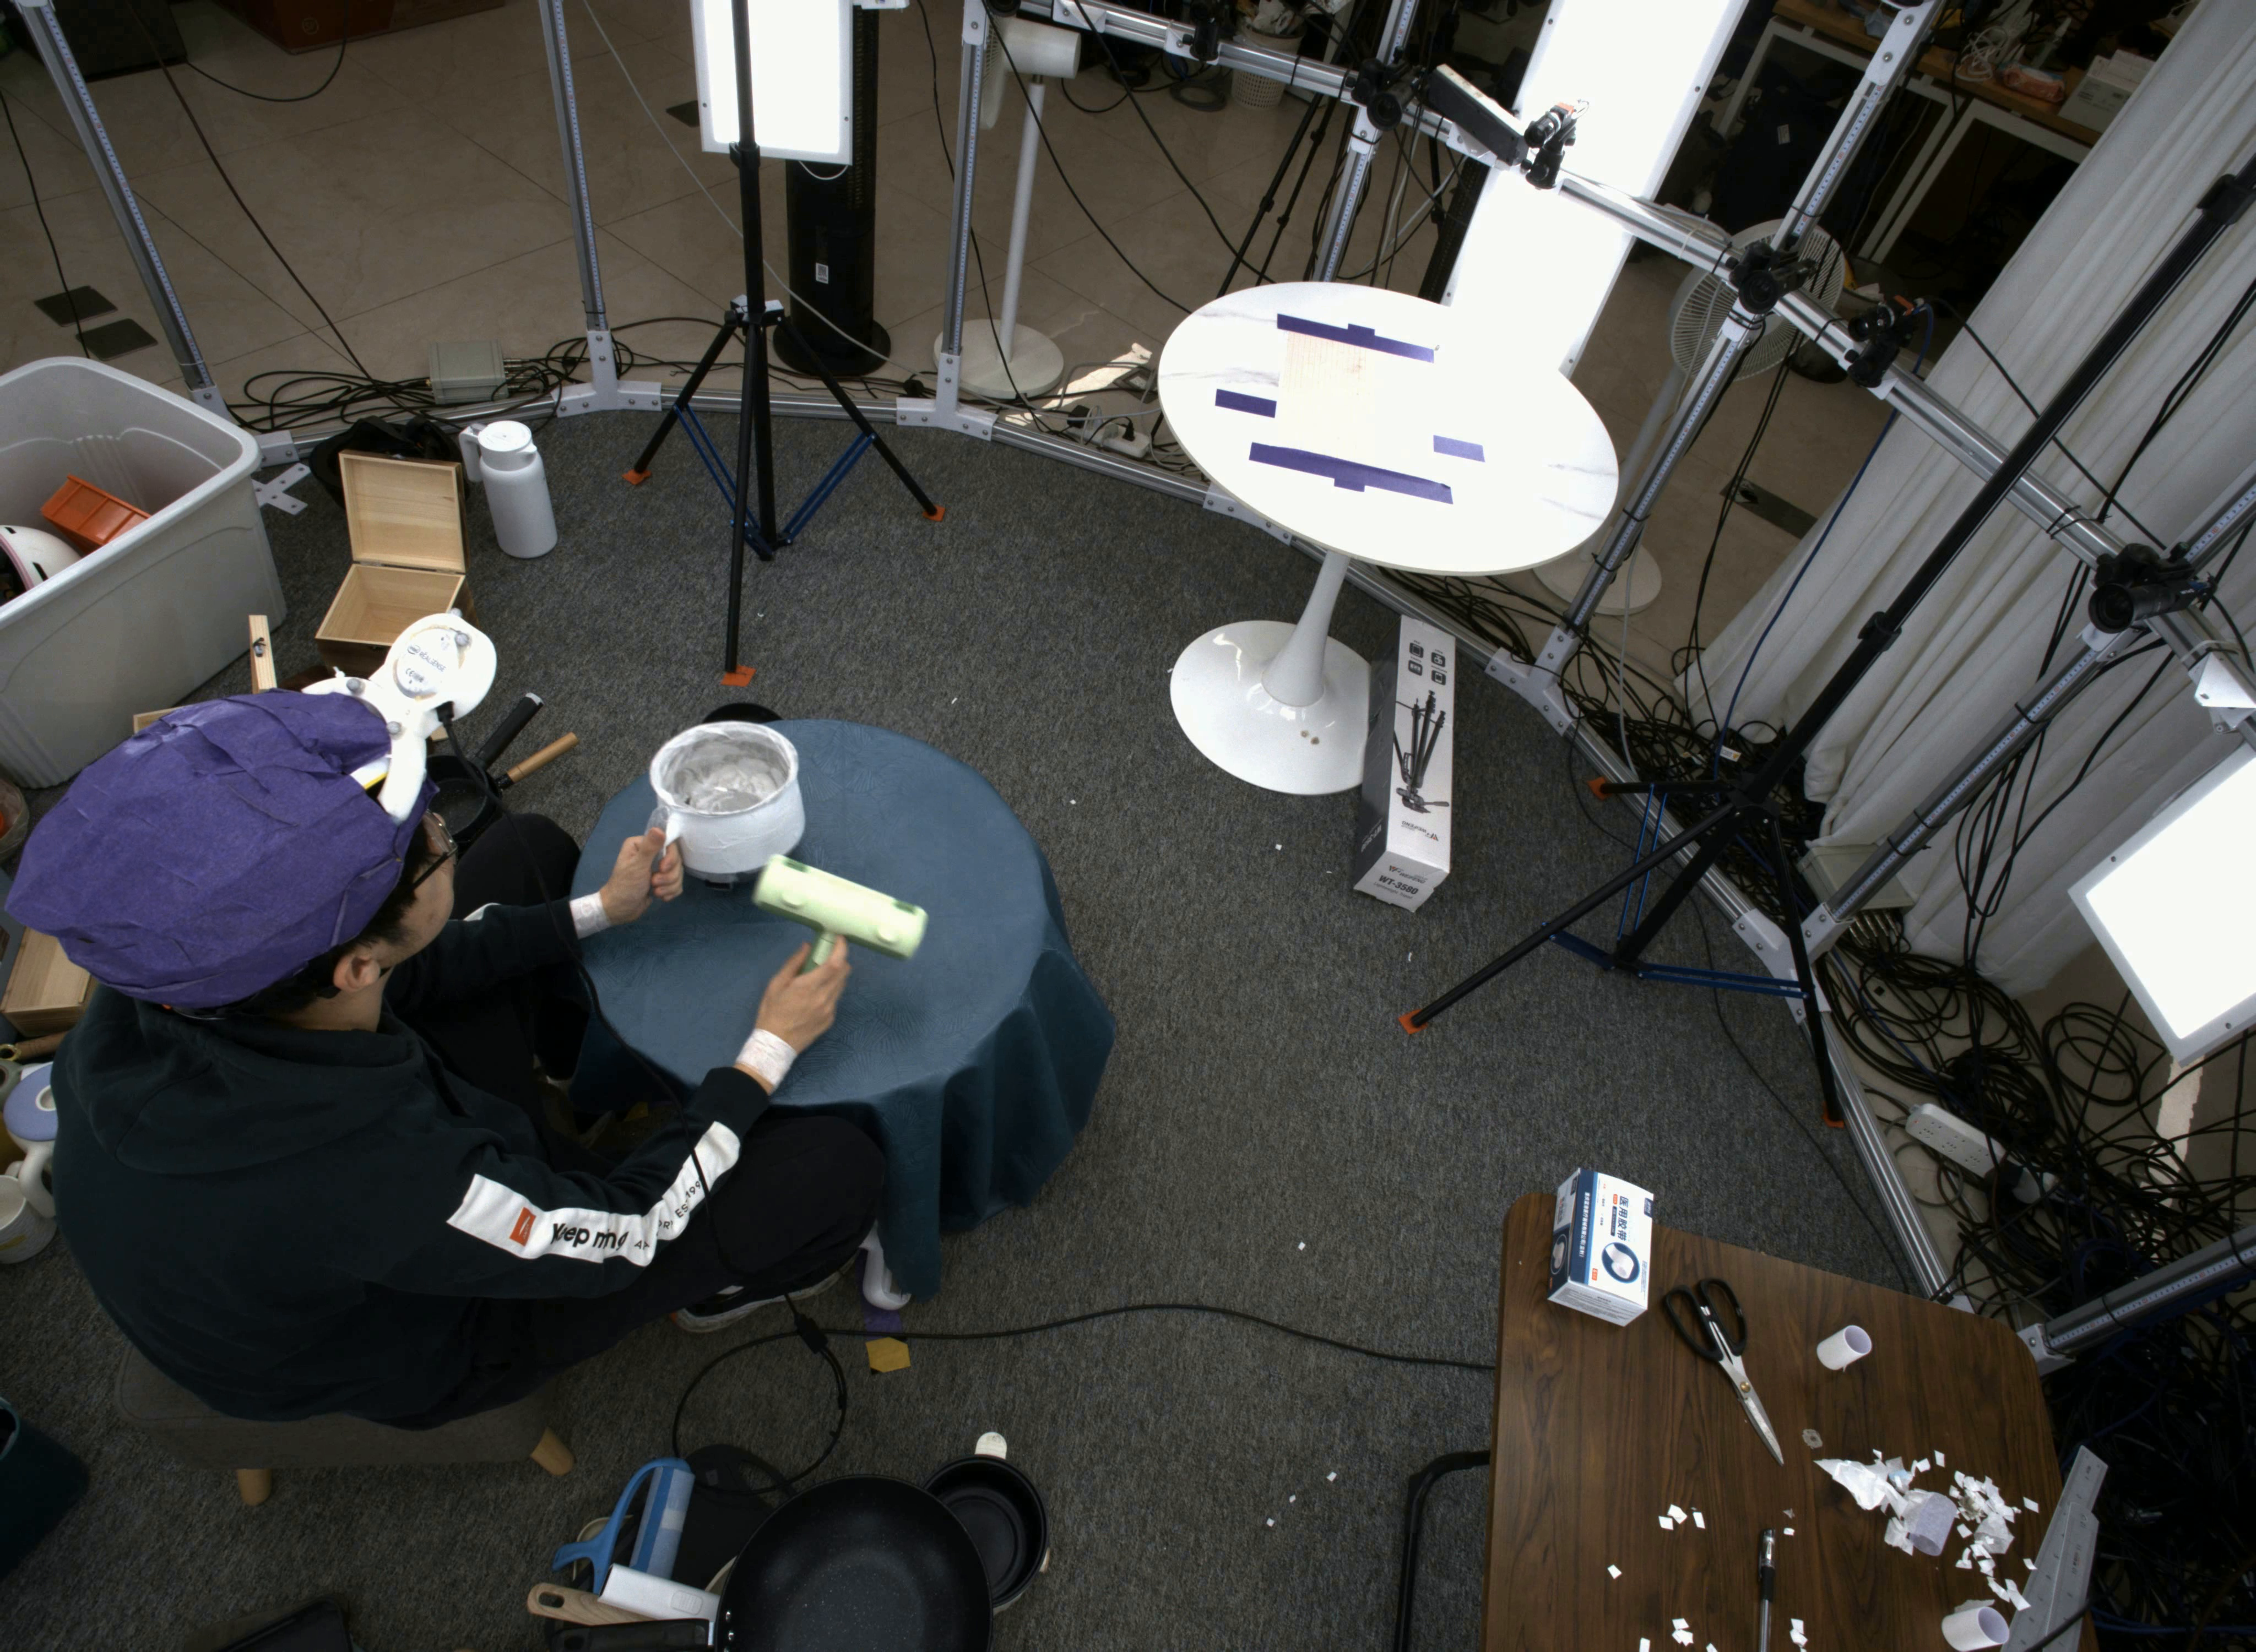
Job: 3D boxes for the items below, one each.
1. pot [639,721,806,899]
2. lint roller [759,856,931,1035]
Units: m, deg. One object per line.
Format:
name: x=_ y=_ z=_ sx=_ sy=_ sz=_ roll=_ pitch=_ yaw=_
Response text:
pot: x=-0.510 y=-0.012 z=1.595 sx=0.174 sy=0.140 sz=0.233 roll=25 pitch=44 yaw=20
lint roller: x=-0.351 y=0.154 z=1.513 sx=0.201 sy=0.081 sz=0.184 roll=24 pitch=78 yaw=-17
